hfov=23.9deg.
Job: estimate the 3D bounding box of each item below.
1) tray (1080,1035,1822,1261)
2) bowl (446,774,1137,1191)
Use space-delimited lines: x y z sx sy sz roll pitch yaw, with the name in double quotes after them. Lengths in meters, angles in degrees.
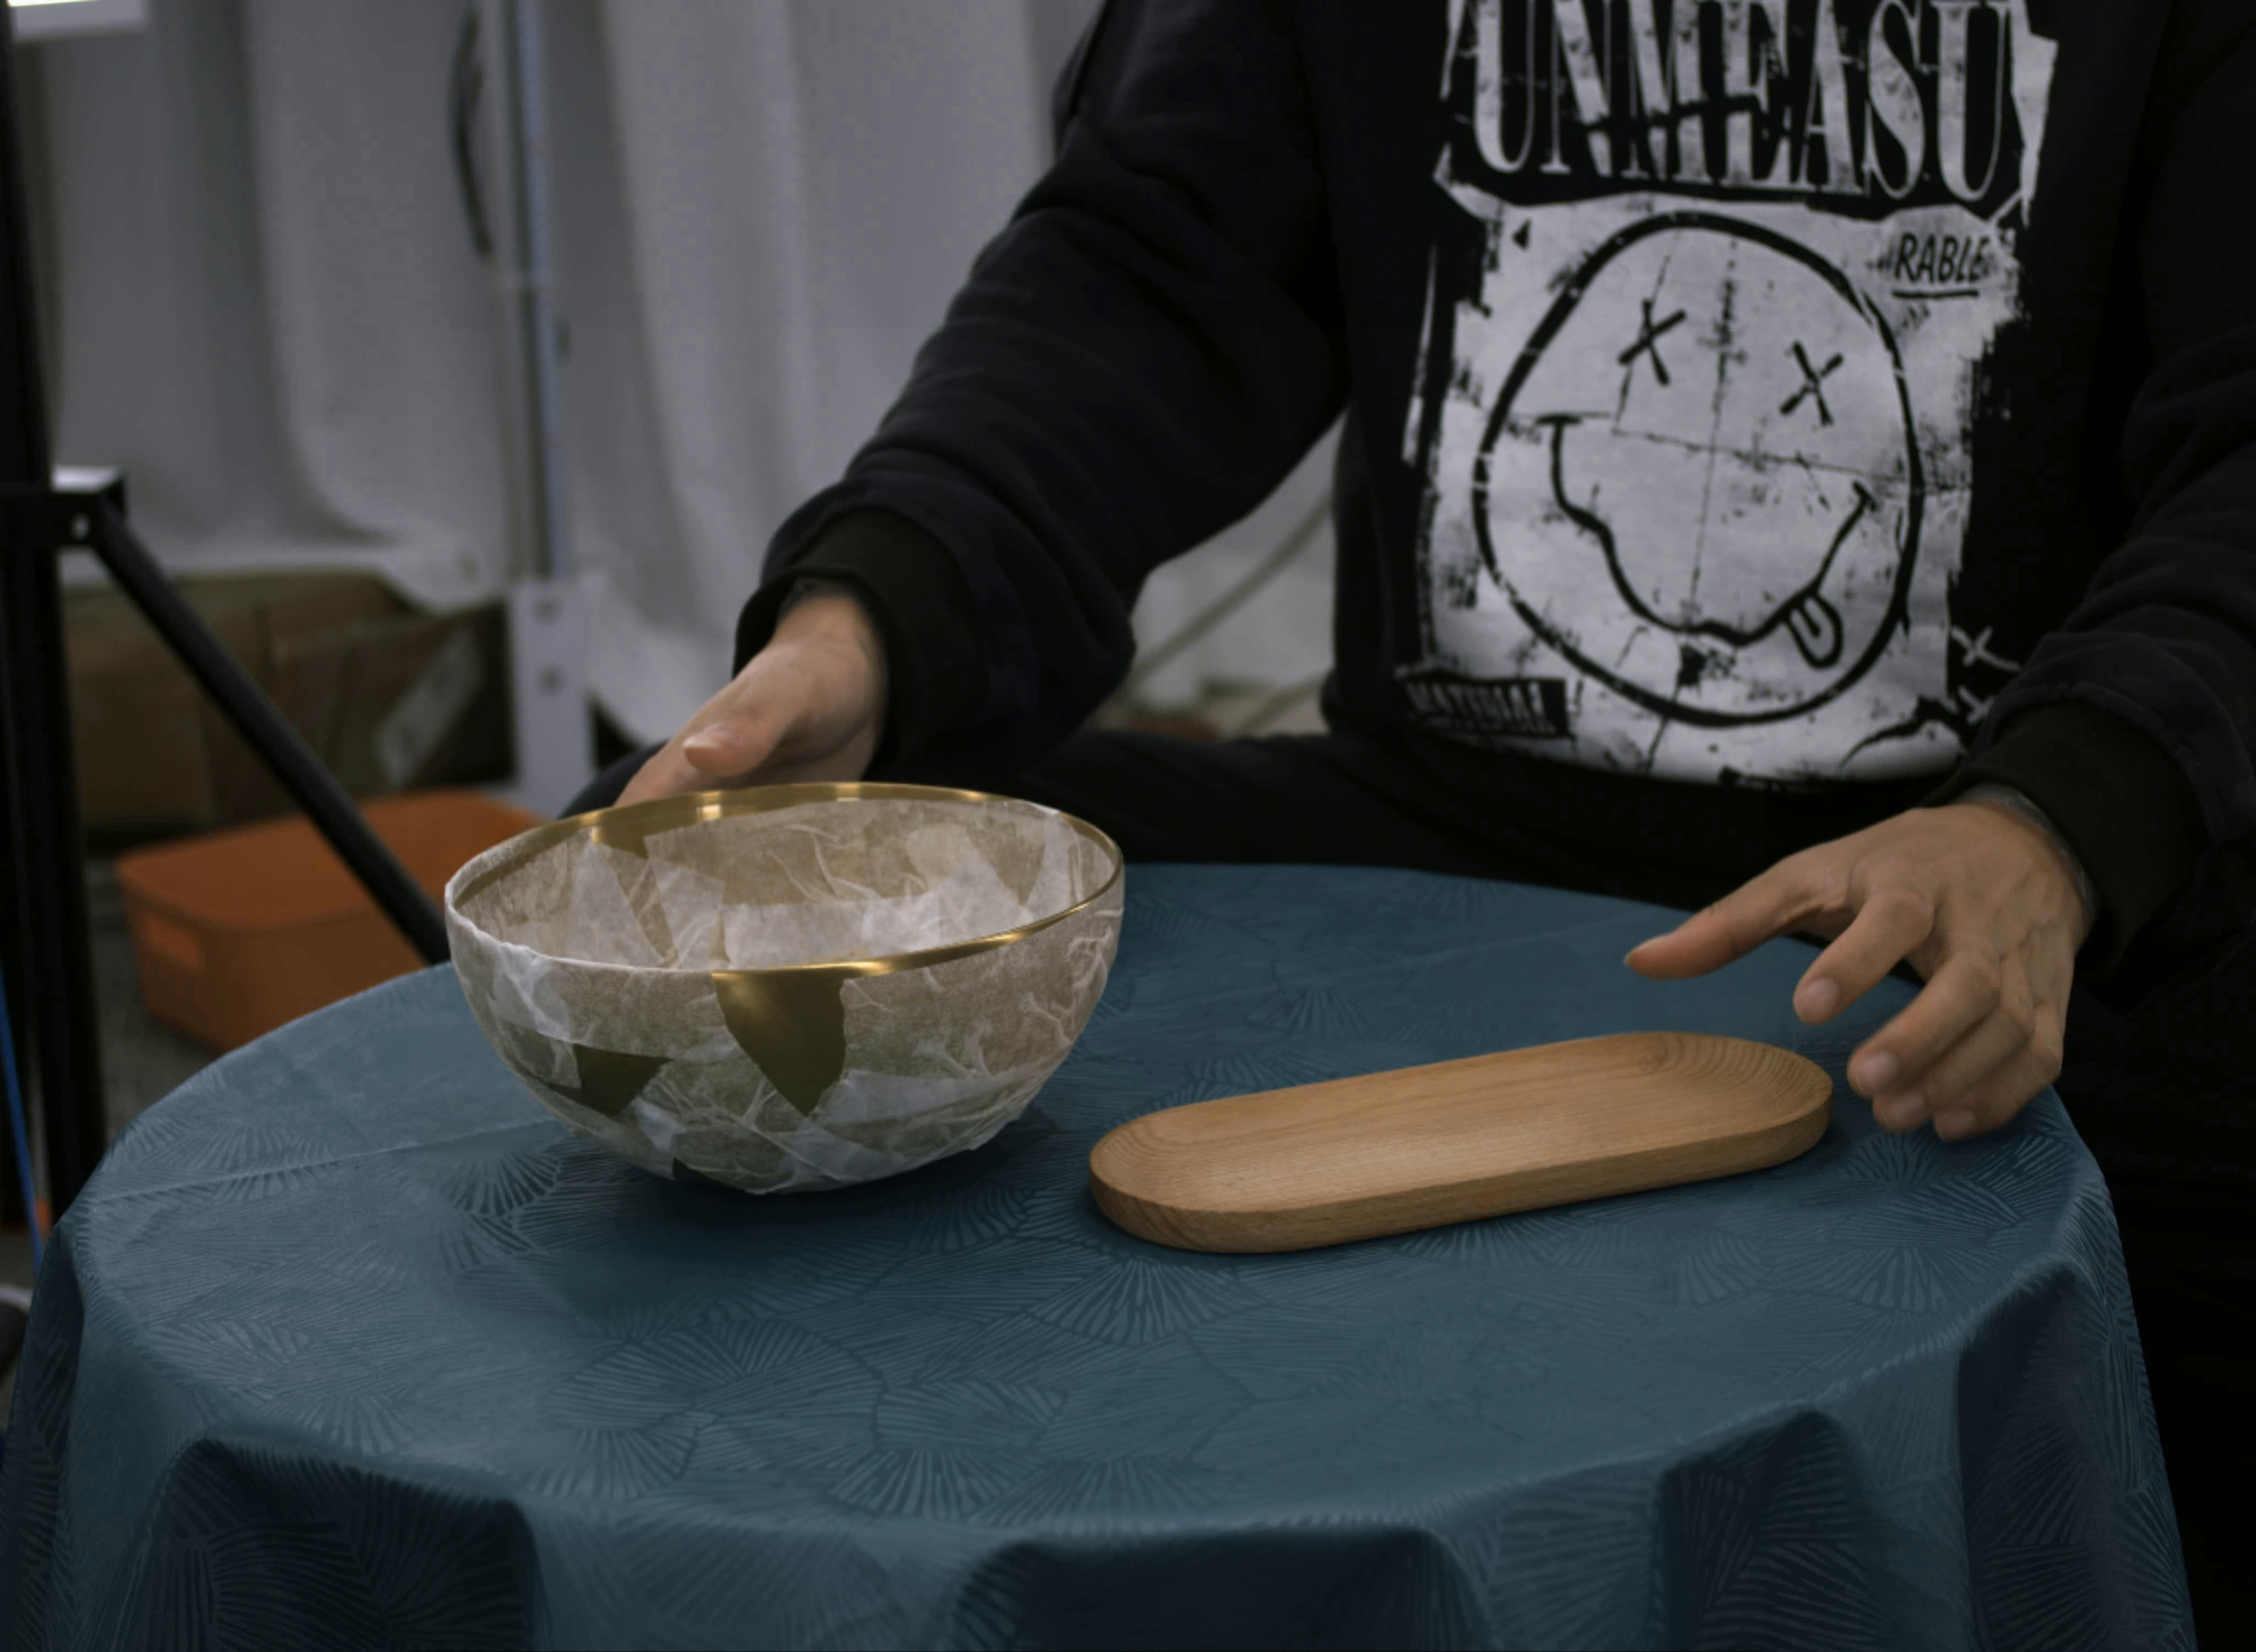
0.097 0.095 1.562 0.227 0.020 0.103 -10 15 -19 "tray"
-0.096 0.055 1.591 0.213 0.094 0.216 -3 15 0 "bowl"
